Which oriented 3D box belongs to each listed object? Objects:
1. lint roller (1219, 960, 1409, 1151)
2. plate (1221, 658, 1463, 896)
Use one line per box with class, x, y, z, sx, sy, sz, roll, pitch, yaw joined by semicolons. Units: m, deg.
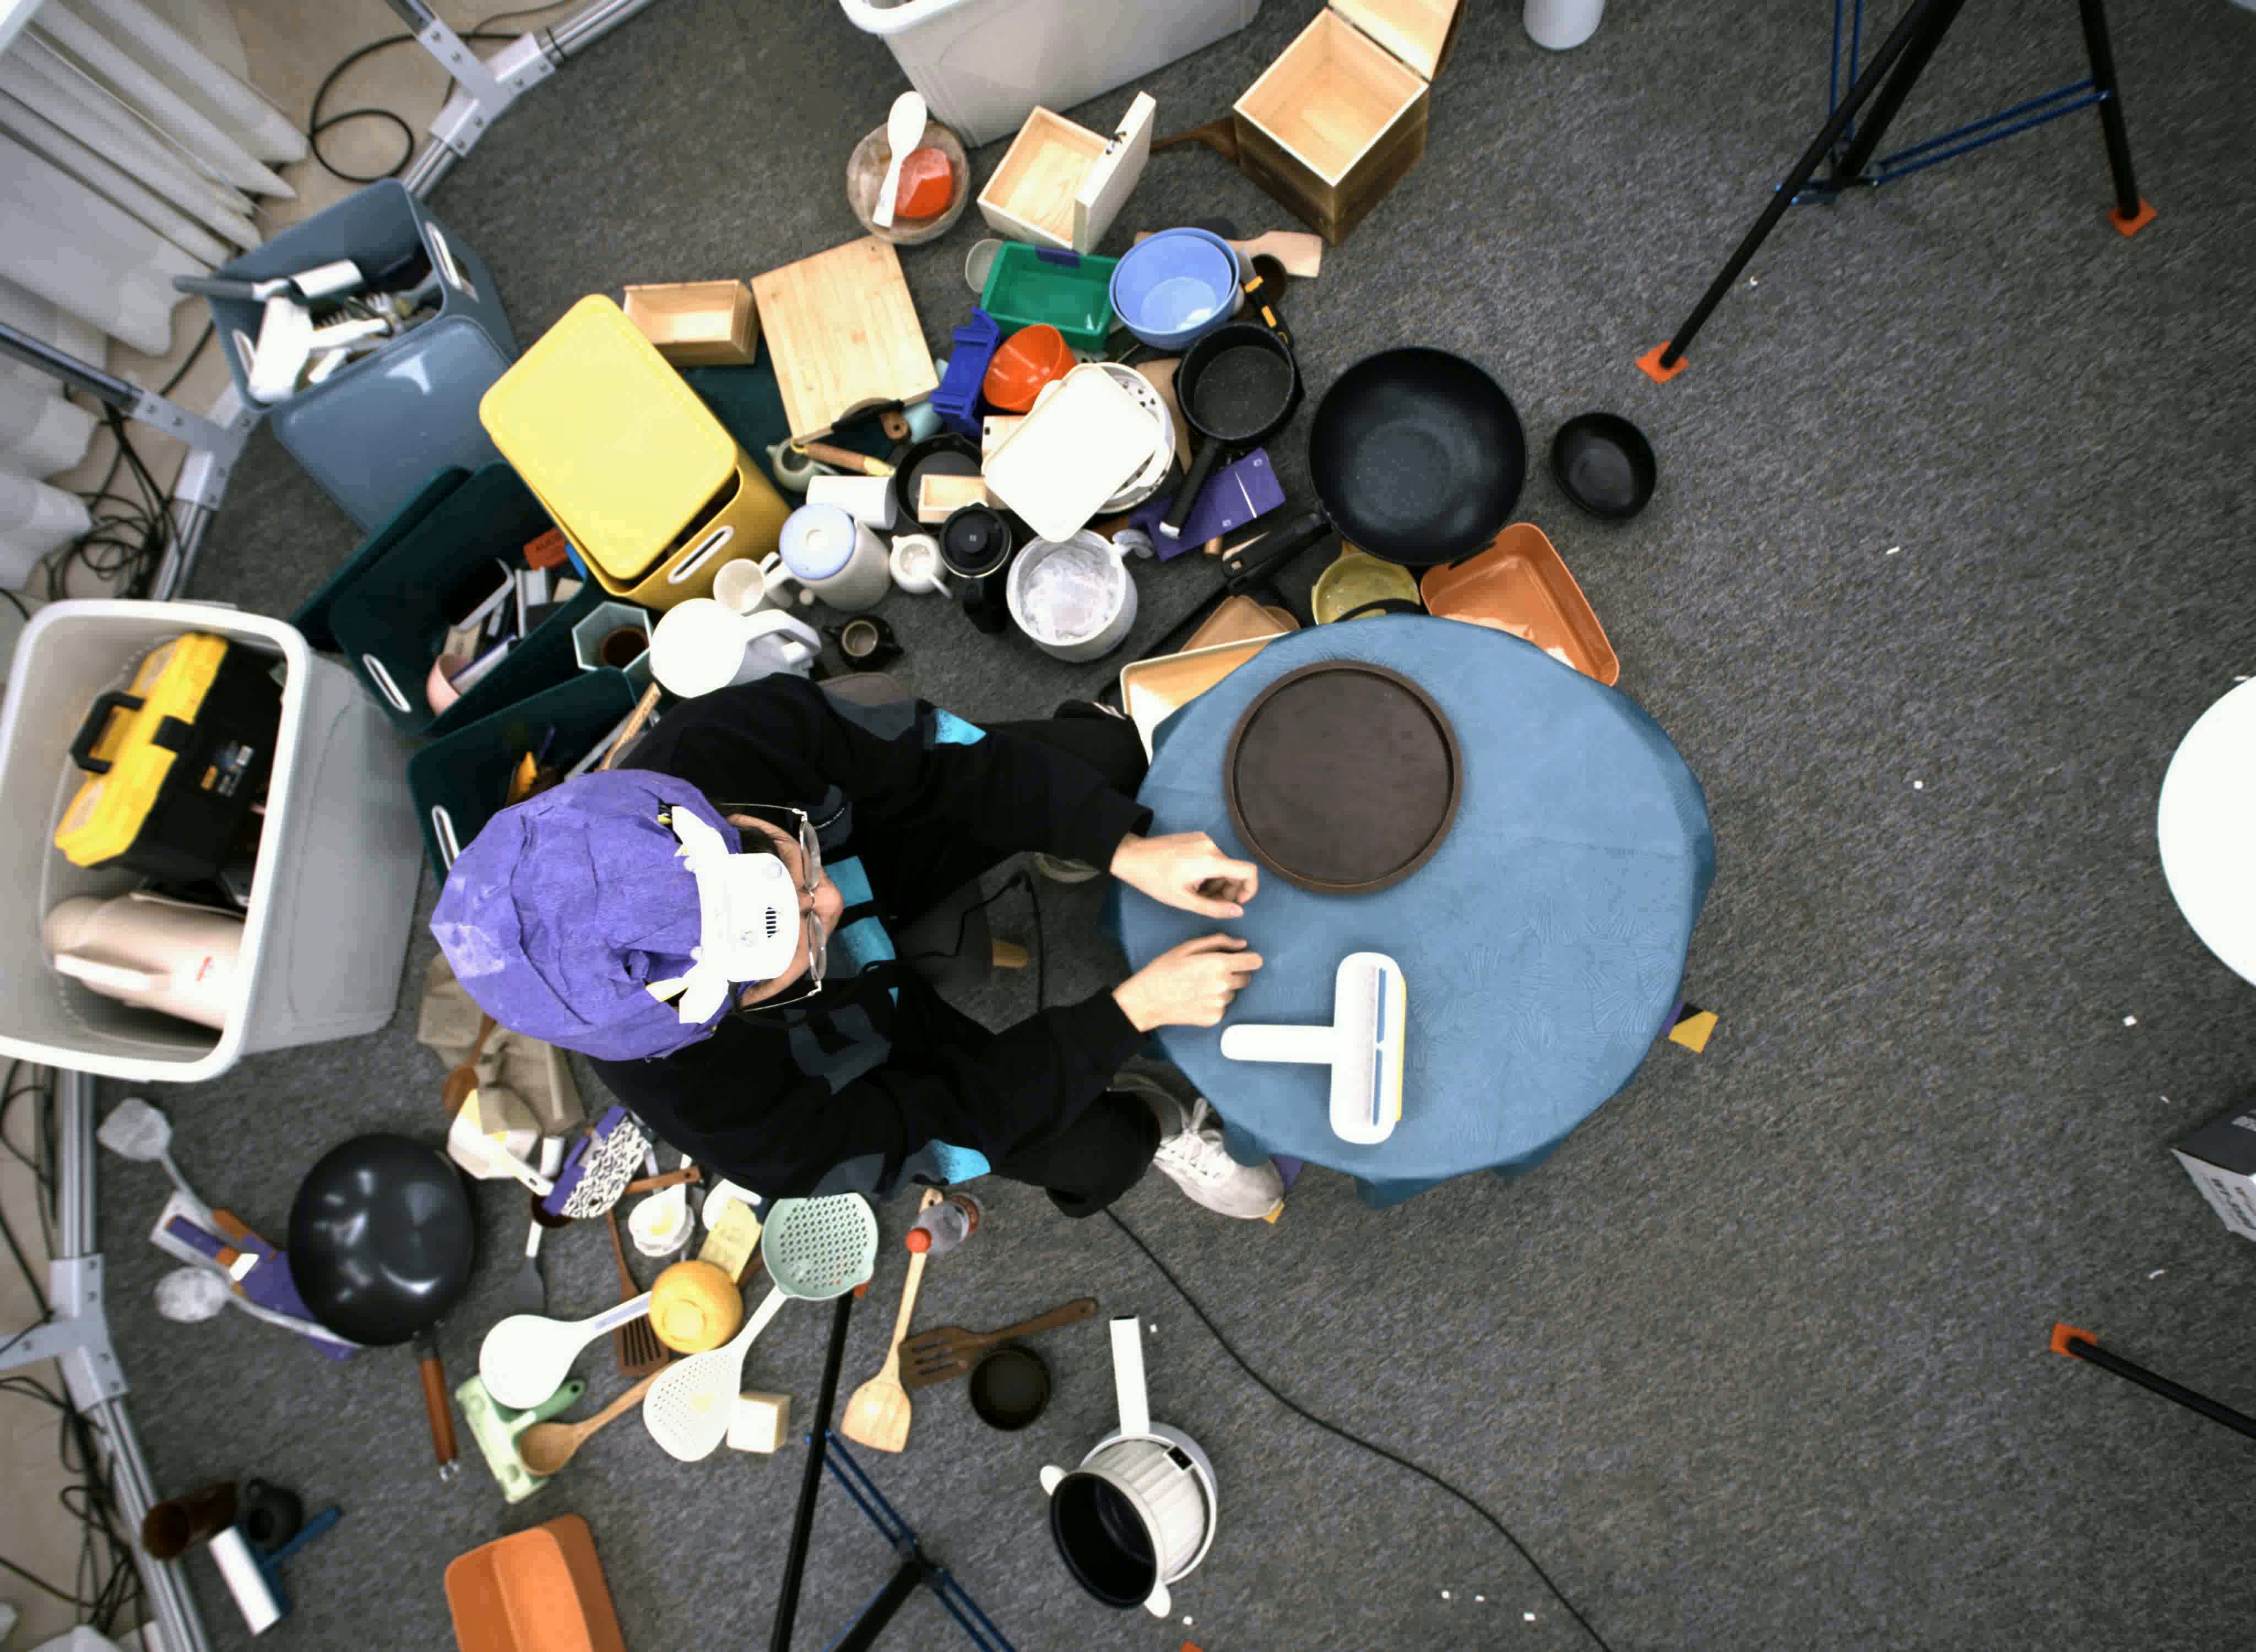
lint roller;0.186;0.227;1.429;0.193;0.074;0.191;6;83;12
plate;0.225;-0.053;1.458;0.256;0.029;0.254;-1;88;11
